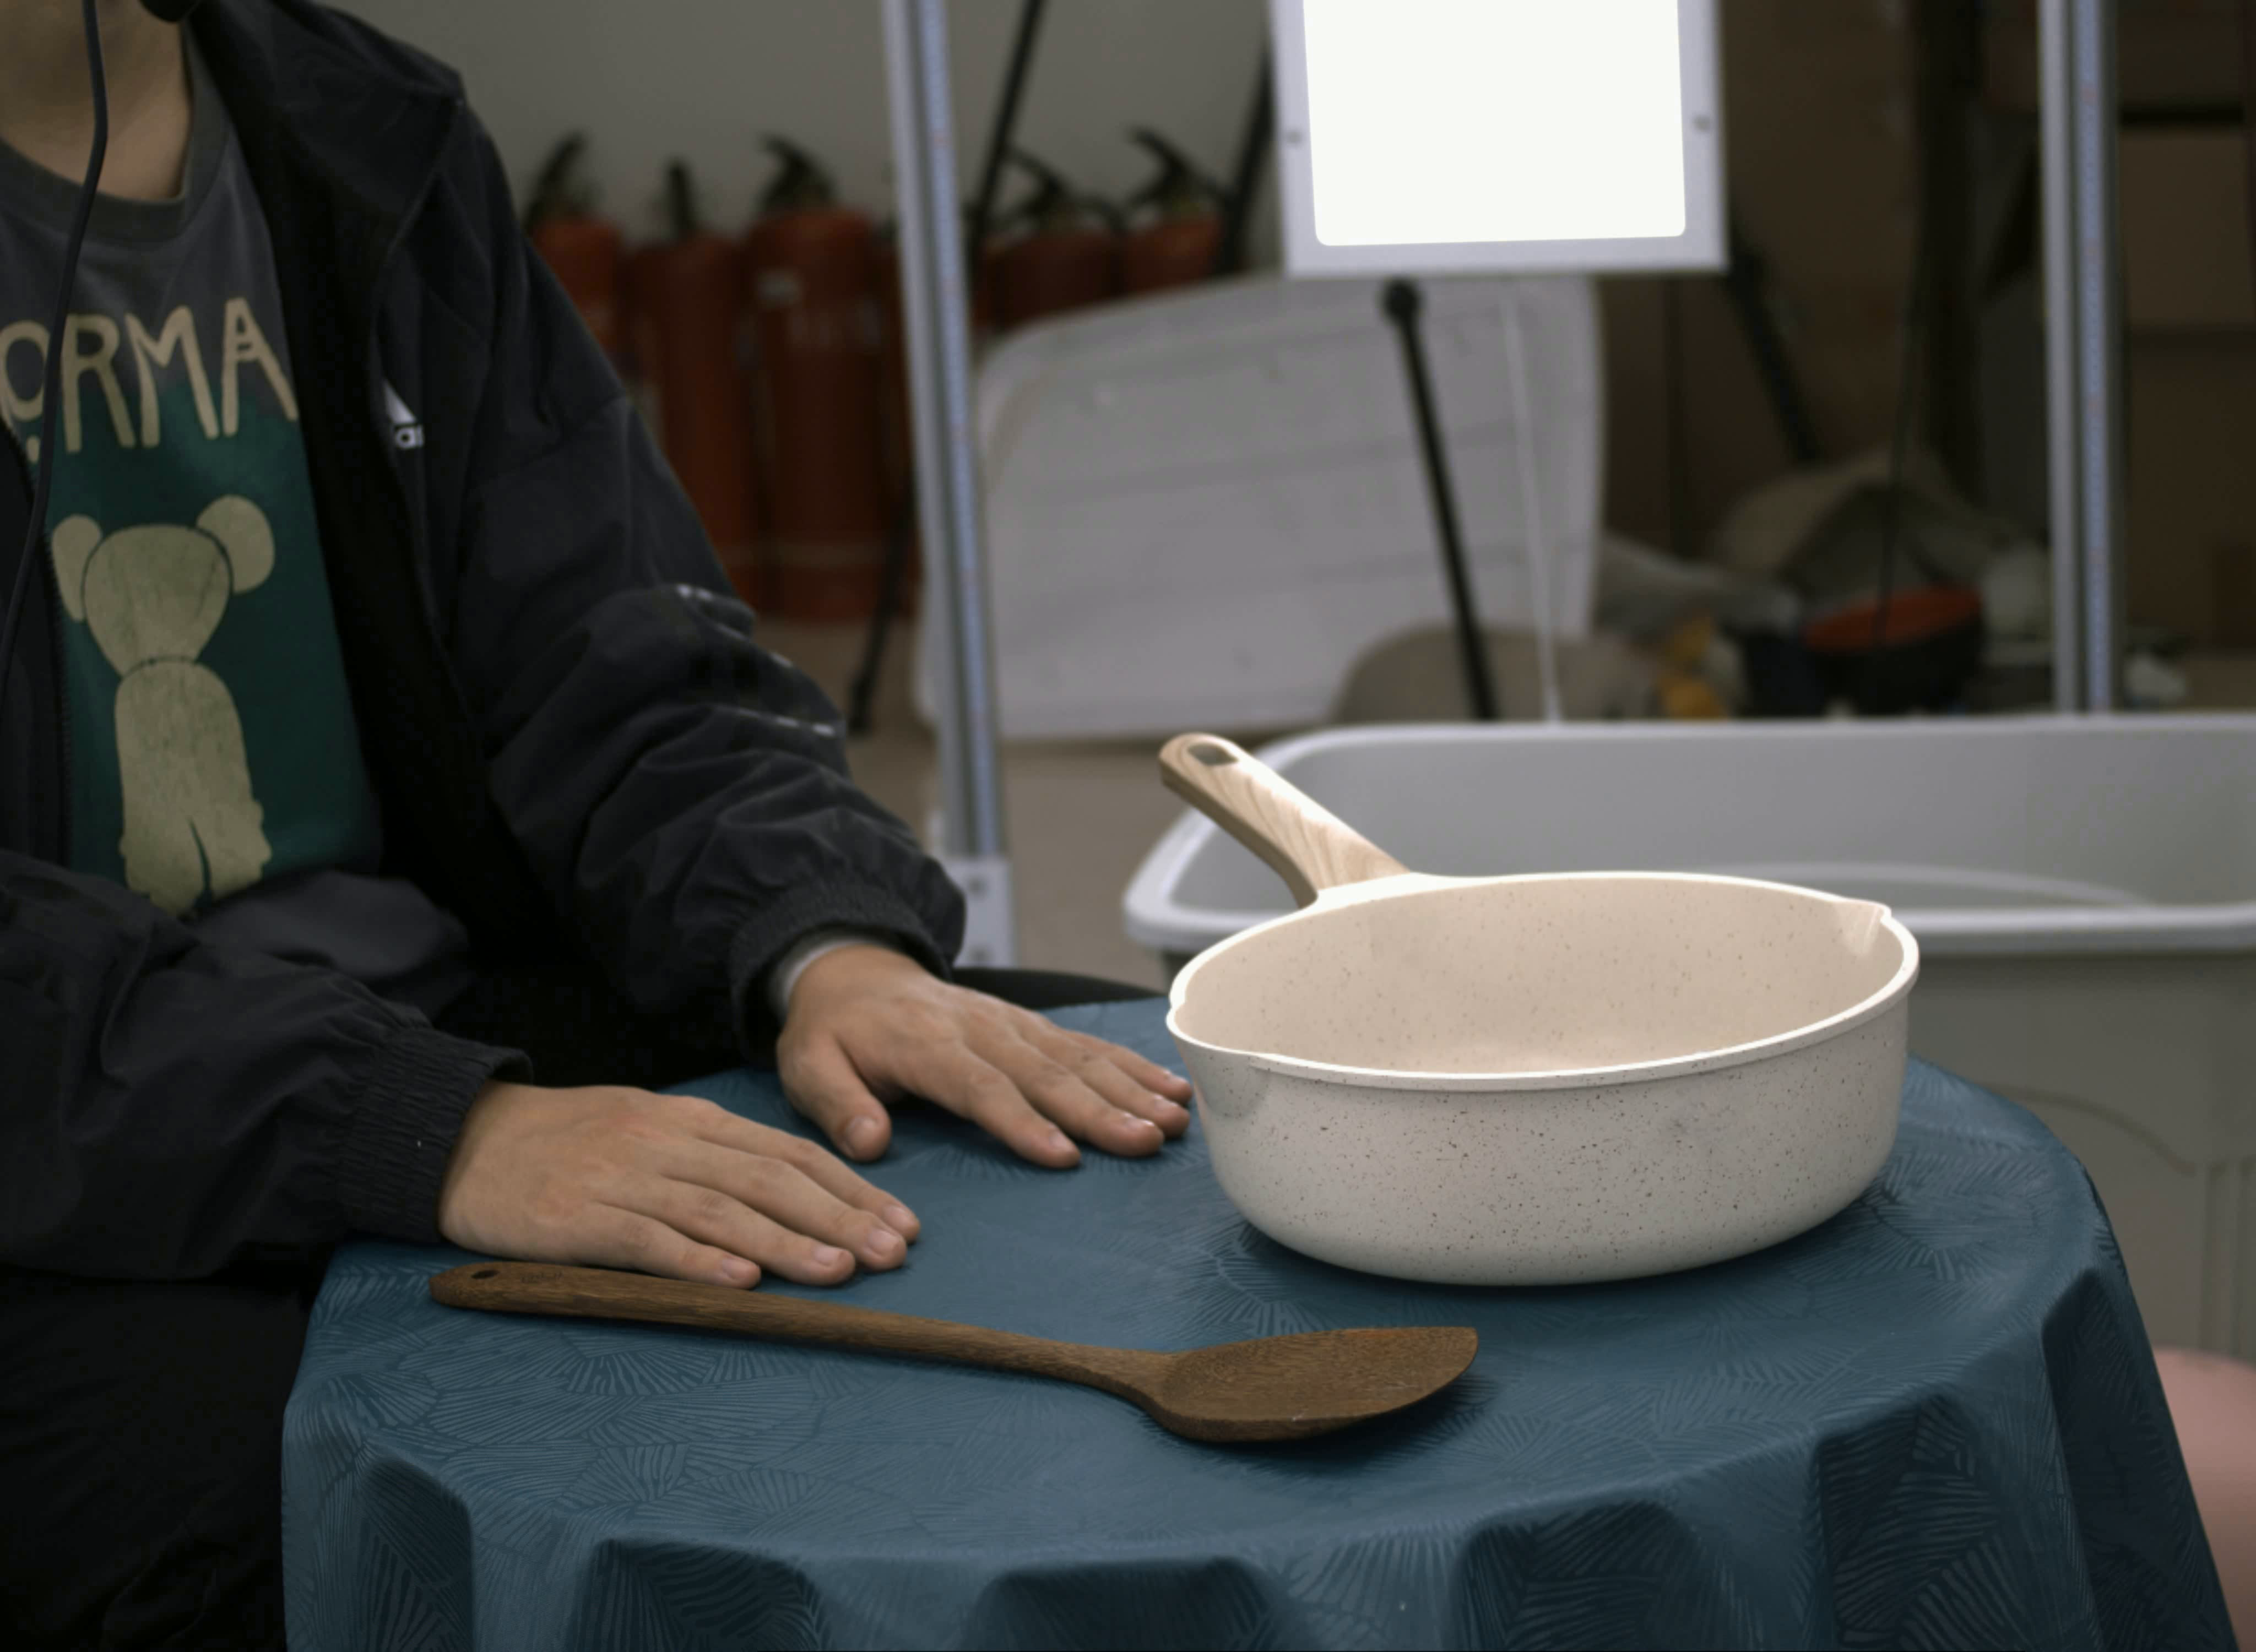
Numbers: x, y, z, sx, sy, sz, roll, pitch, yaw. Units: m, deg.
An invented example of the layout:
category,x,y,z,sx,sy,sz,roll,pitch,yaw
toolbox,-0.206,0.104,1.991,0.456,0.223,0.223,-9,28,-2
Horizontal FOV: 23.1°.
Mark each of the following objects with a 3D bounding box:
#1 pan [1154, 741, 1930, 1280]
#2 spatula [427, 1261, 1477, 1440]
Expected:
category,x,y,z,sx,sy,sz,roll,pitch,yaw
pan,0.111,0.058,1.923,0.259,0.102,0.441,-12,15,-19
spatula,-0.070,0.161,1.750,0.393,0.016,0.094,3,15,33
